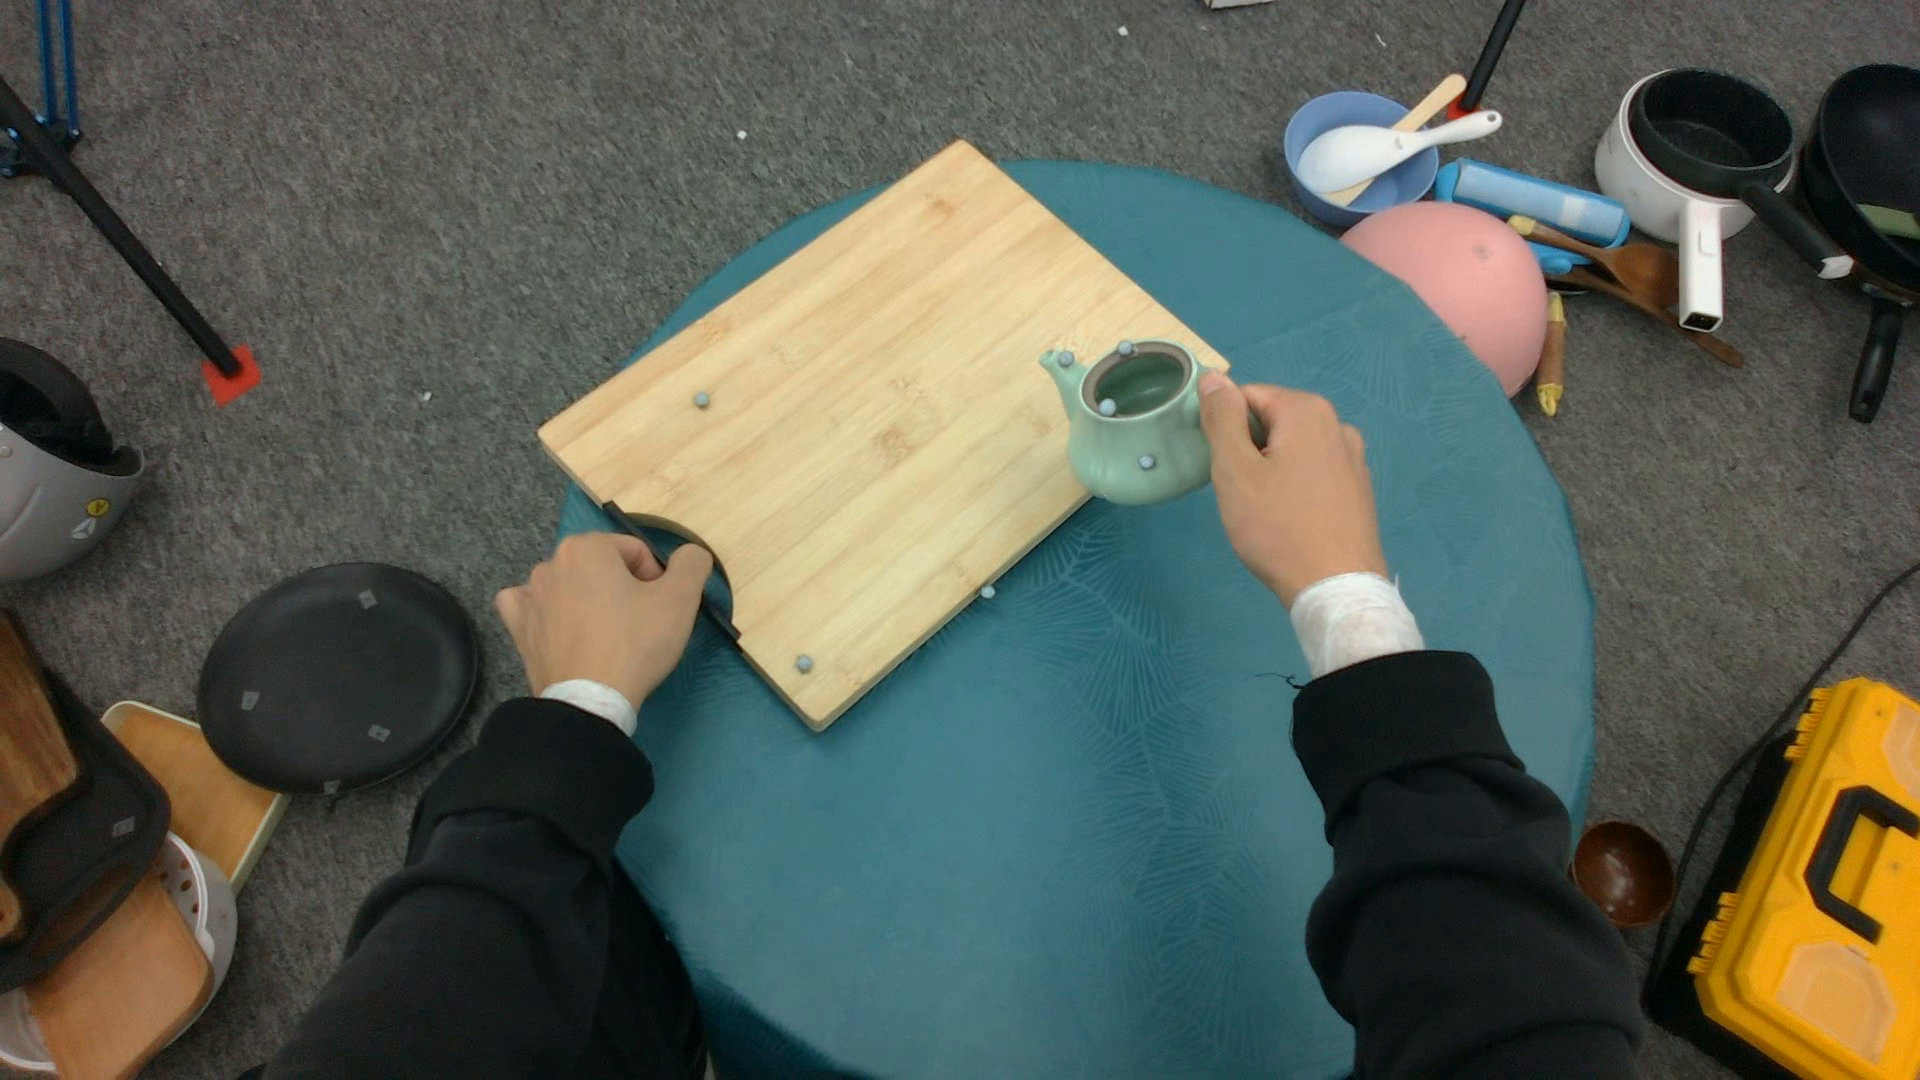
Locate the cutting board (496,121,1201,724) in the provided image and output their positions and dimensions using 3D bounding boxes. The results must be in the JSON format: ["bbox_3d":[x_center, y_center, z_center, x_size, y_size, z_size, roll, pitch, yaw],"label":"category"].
[{"bbox_3d":[-0.055,-0.088,0.816,0.251,0.023,0.350,42,67,15],"label":"cutting board"}]

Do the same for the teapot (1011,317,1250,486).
[{"bbox_3d":[0.090,-0.074,0.711,0.137,0.061,0.096,17,57,38],"label":"teapot"}]
